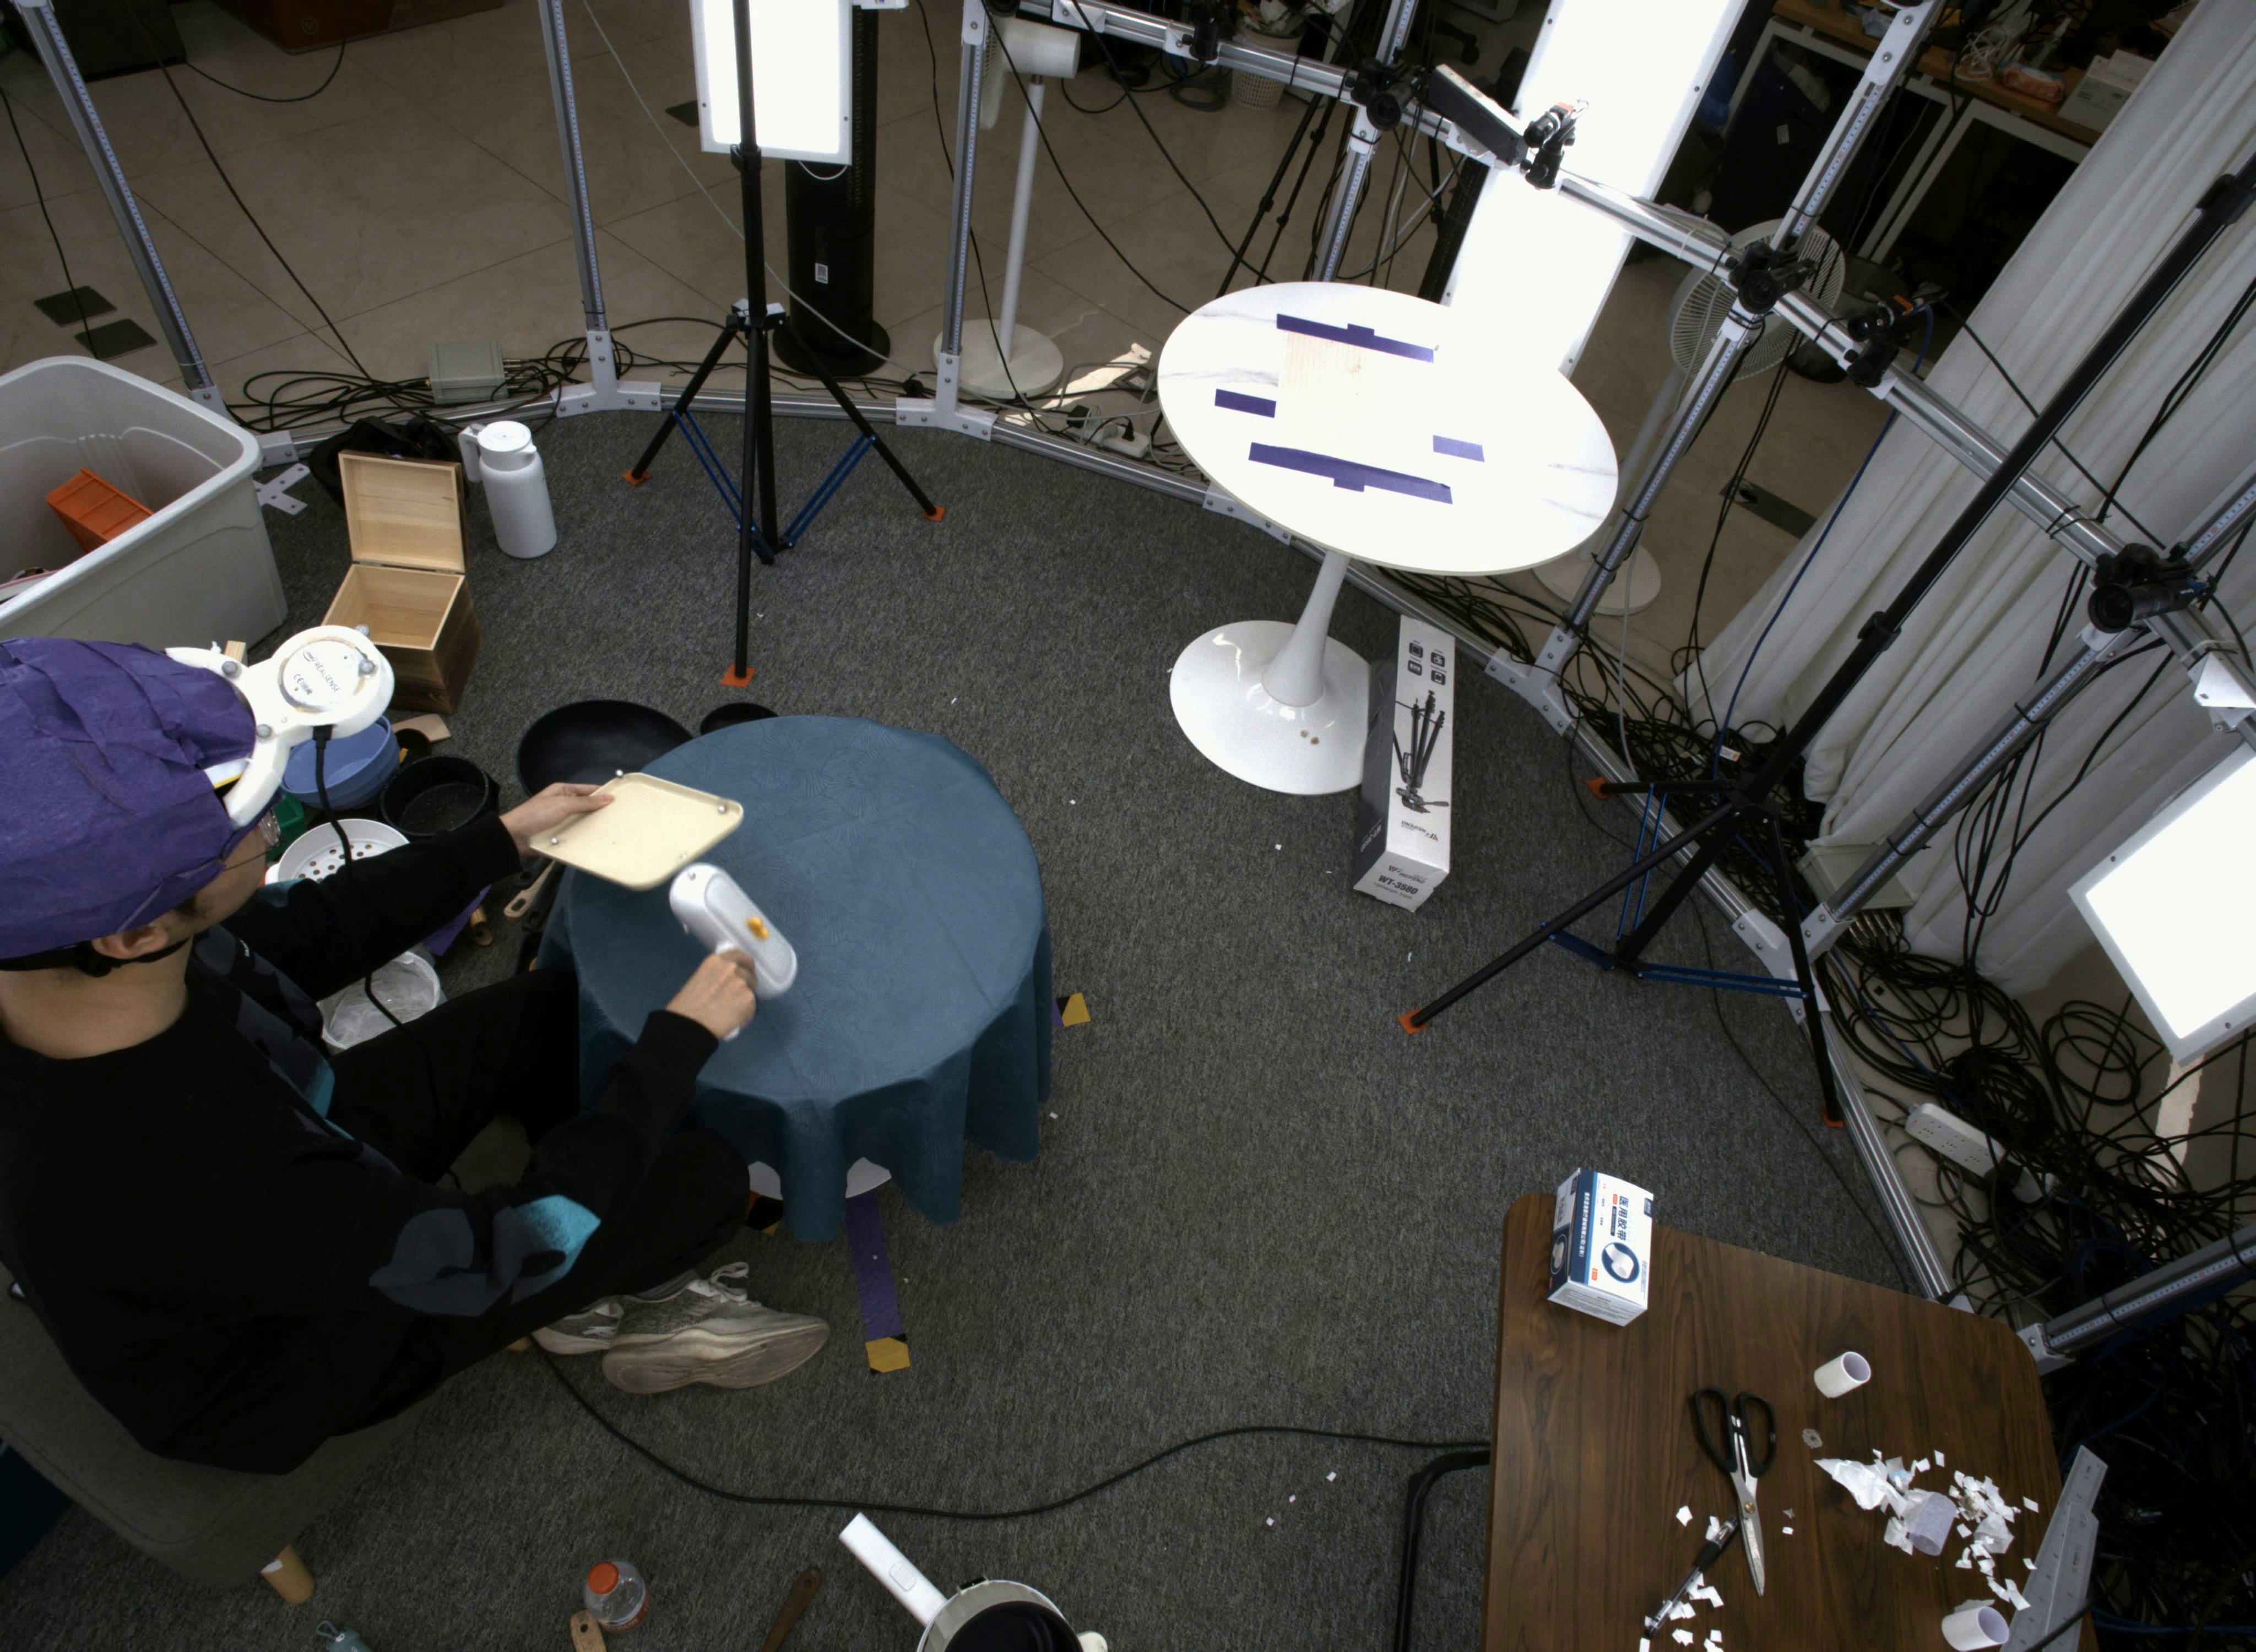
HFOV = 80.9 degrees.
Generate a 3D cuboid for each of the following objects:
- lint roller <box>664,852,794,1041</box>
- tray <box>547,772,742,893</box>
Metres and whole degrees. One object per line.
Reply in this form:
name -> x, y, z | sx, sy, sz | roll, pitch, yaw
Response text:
lint roller -> -0.443, 0.149, 1.425 | 0.073, 0.200, 0.189 | -11, 49, 14
tray -> -0.578, 0.004, 1.510 | 0.231, 0.018, 0.171 | 16, 43, 31
